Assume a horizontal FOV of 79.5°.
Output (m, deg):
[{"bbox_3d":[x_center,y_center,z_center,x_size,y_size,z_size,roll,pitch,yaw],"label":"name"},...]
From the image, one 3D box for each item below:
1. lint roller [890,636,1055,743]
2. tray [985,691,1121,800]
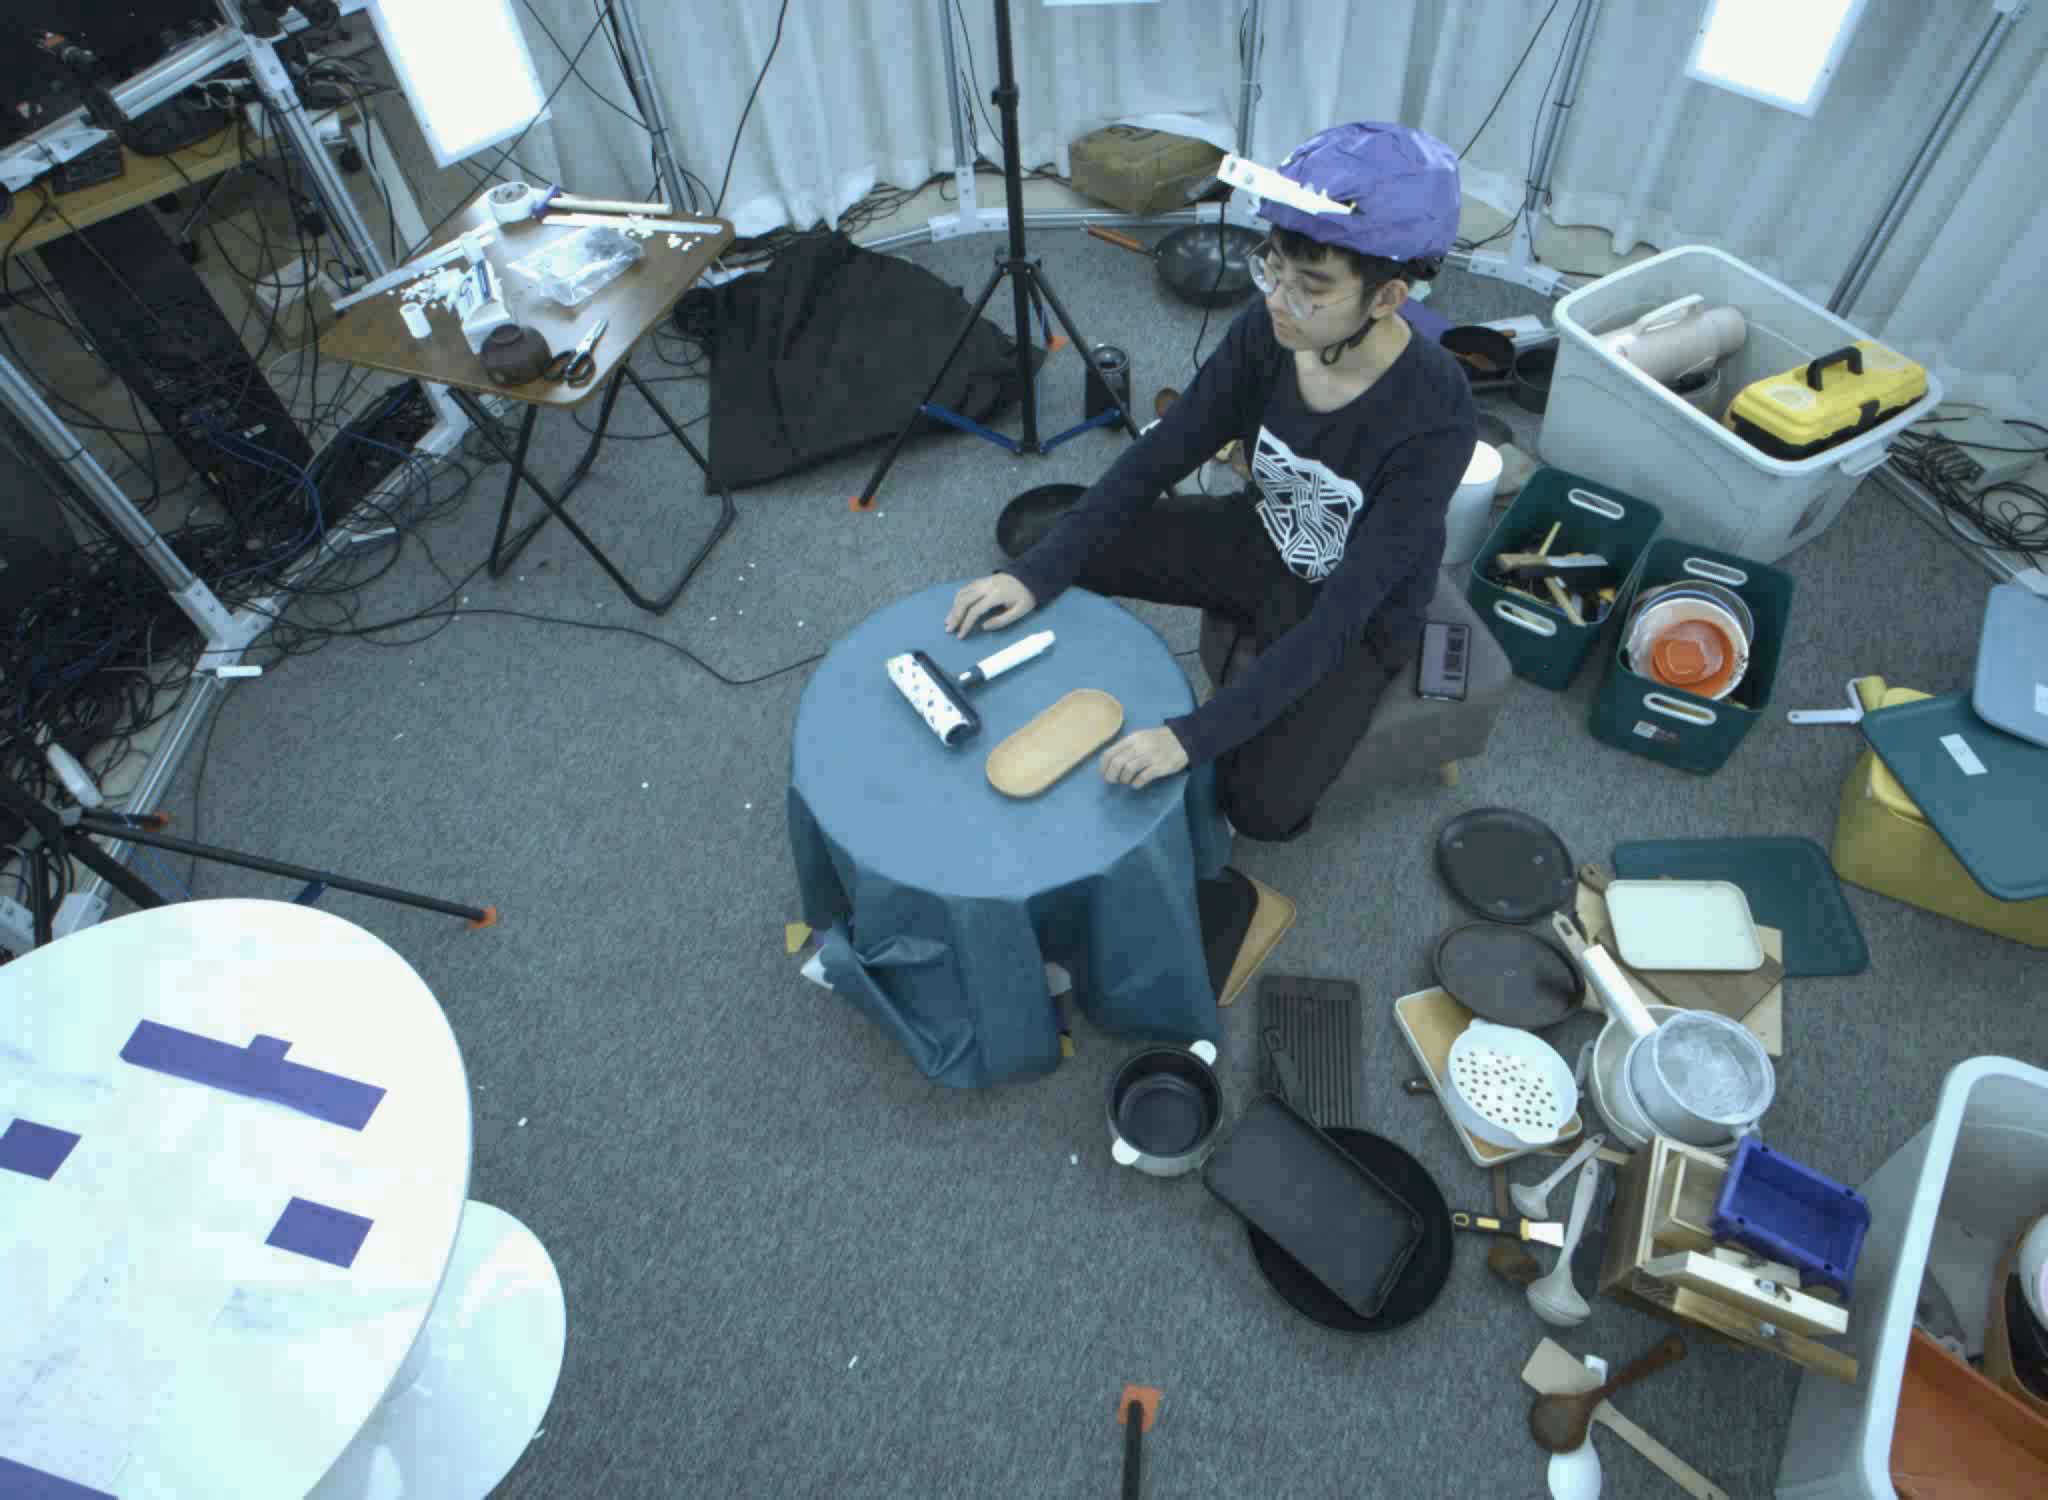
[{"bbox_3d":[-0.059,-0.123,1.860,0.249,0.051,0.173,-29,58,-22],"label":"lint roller"},{"bbox_3d":[0.044,-0.007,1.790,0.233,0.020,0.100,-38,60,-22],"label":"tray"}]
